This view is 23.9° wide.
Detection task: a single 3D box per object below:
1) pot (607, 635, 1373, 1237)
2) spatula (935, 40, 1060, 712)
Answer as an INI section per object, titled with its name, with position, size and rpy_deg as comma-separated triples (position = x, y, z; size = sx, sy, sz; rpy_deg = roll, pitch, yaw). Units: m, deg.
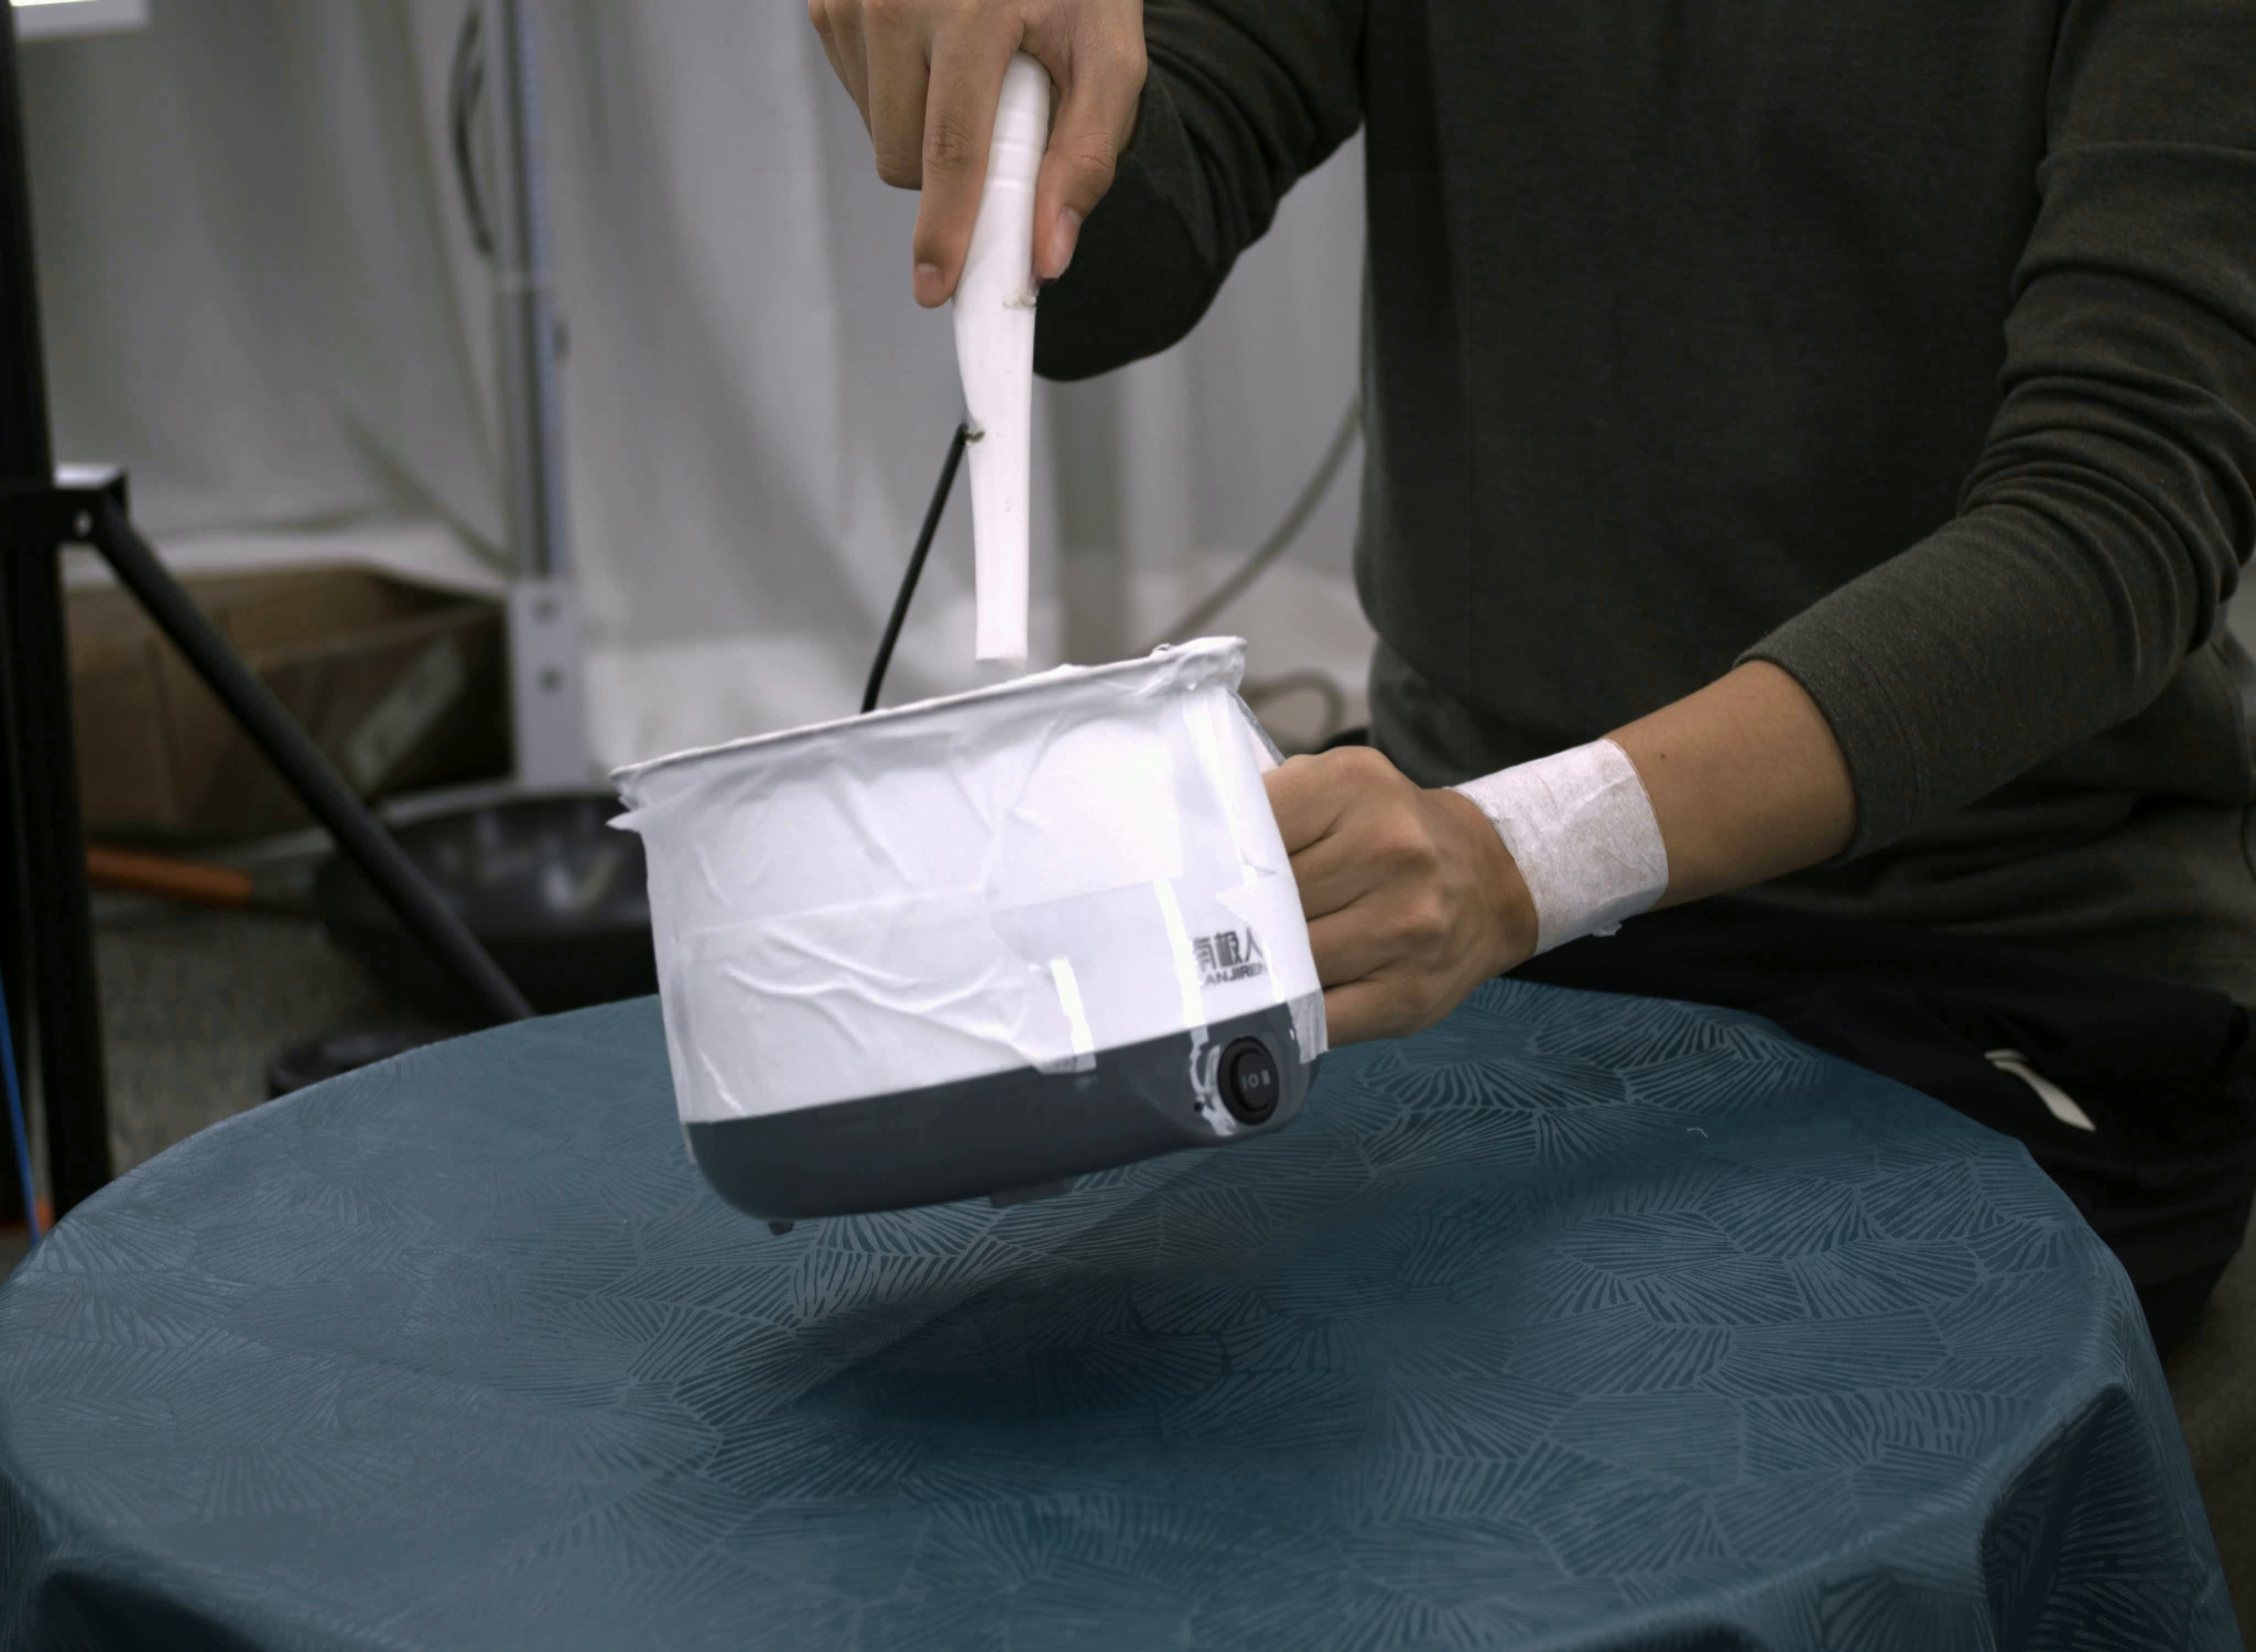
[pot]
position = -0.023, 0.026, 1.454
size = 0.182, 0.137, 0.228
rpy_deg = -10, 1, 42
[spatula]
position = -0.040, -0.083, 1.506
size = 0.059, 0.290, 0.031
rpy_deg = -3, -18, 17
